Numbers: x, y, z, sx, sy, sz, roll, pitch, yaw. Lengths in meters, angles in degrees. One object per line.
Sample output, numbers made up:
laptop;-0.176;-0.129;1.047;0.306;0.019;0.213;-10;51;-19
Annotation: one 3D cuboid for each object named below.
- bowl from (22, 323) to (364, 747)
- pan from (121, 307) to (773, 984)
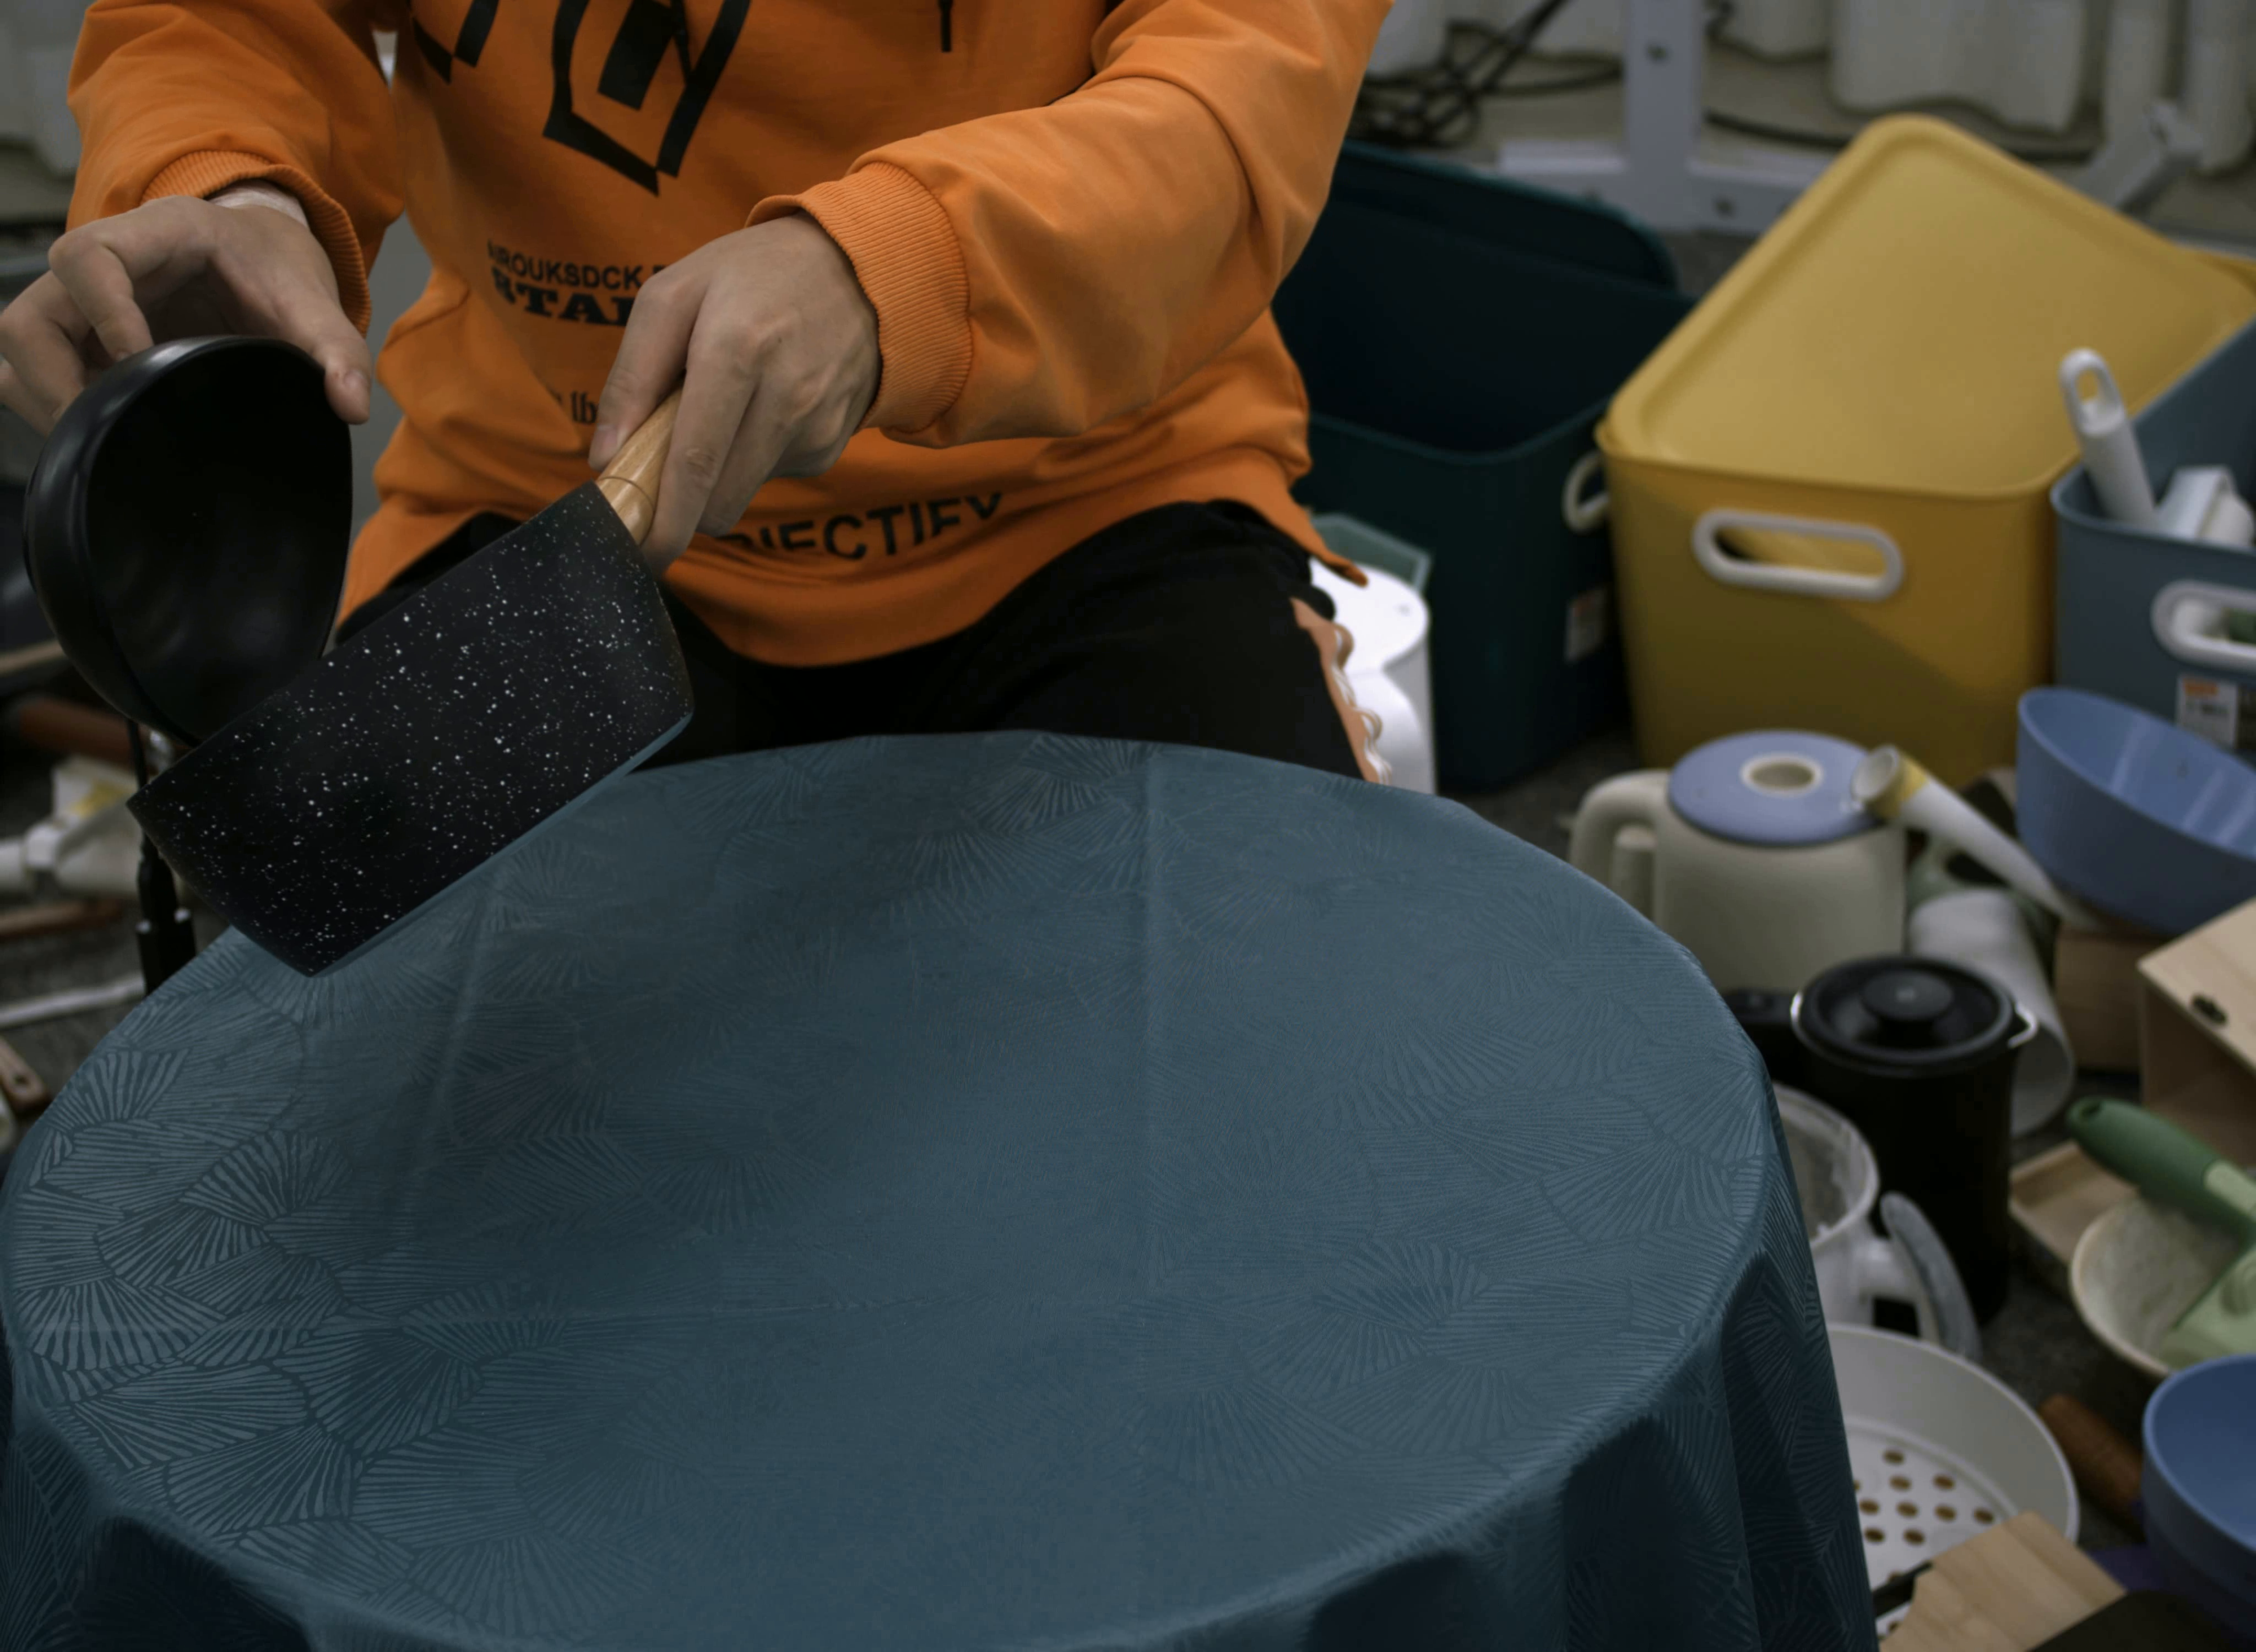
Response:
bowl;-0.313;-0.097;1.828;0.066;0.138;0.170;9;-6;21
pan;-0.194;-0.067;1.884;0.204;0.108;0.348;-33;6;38
